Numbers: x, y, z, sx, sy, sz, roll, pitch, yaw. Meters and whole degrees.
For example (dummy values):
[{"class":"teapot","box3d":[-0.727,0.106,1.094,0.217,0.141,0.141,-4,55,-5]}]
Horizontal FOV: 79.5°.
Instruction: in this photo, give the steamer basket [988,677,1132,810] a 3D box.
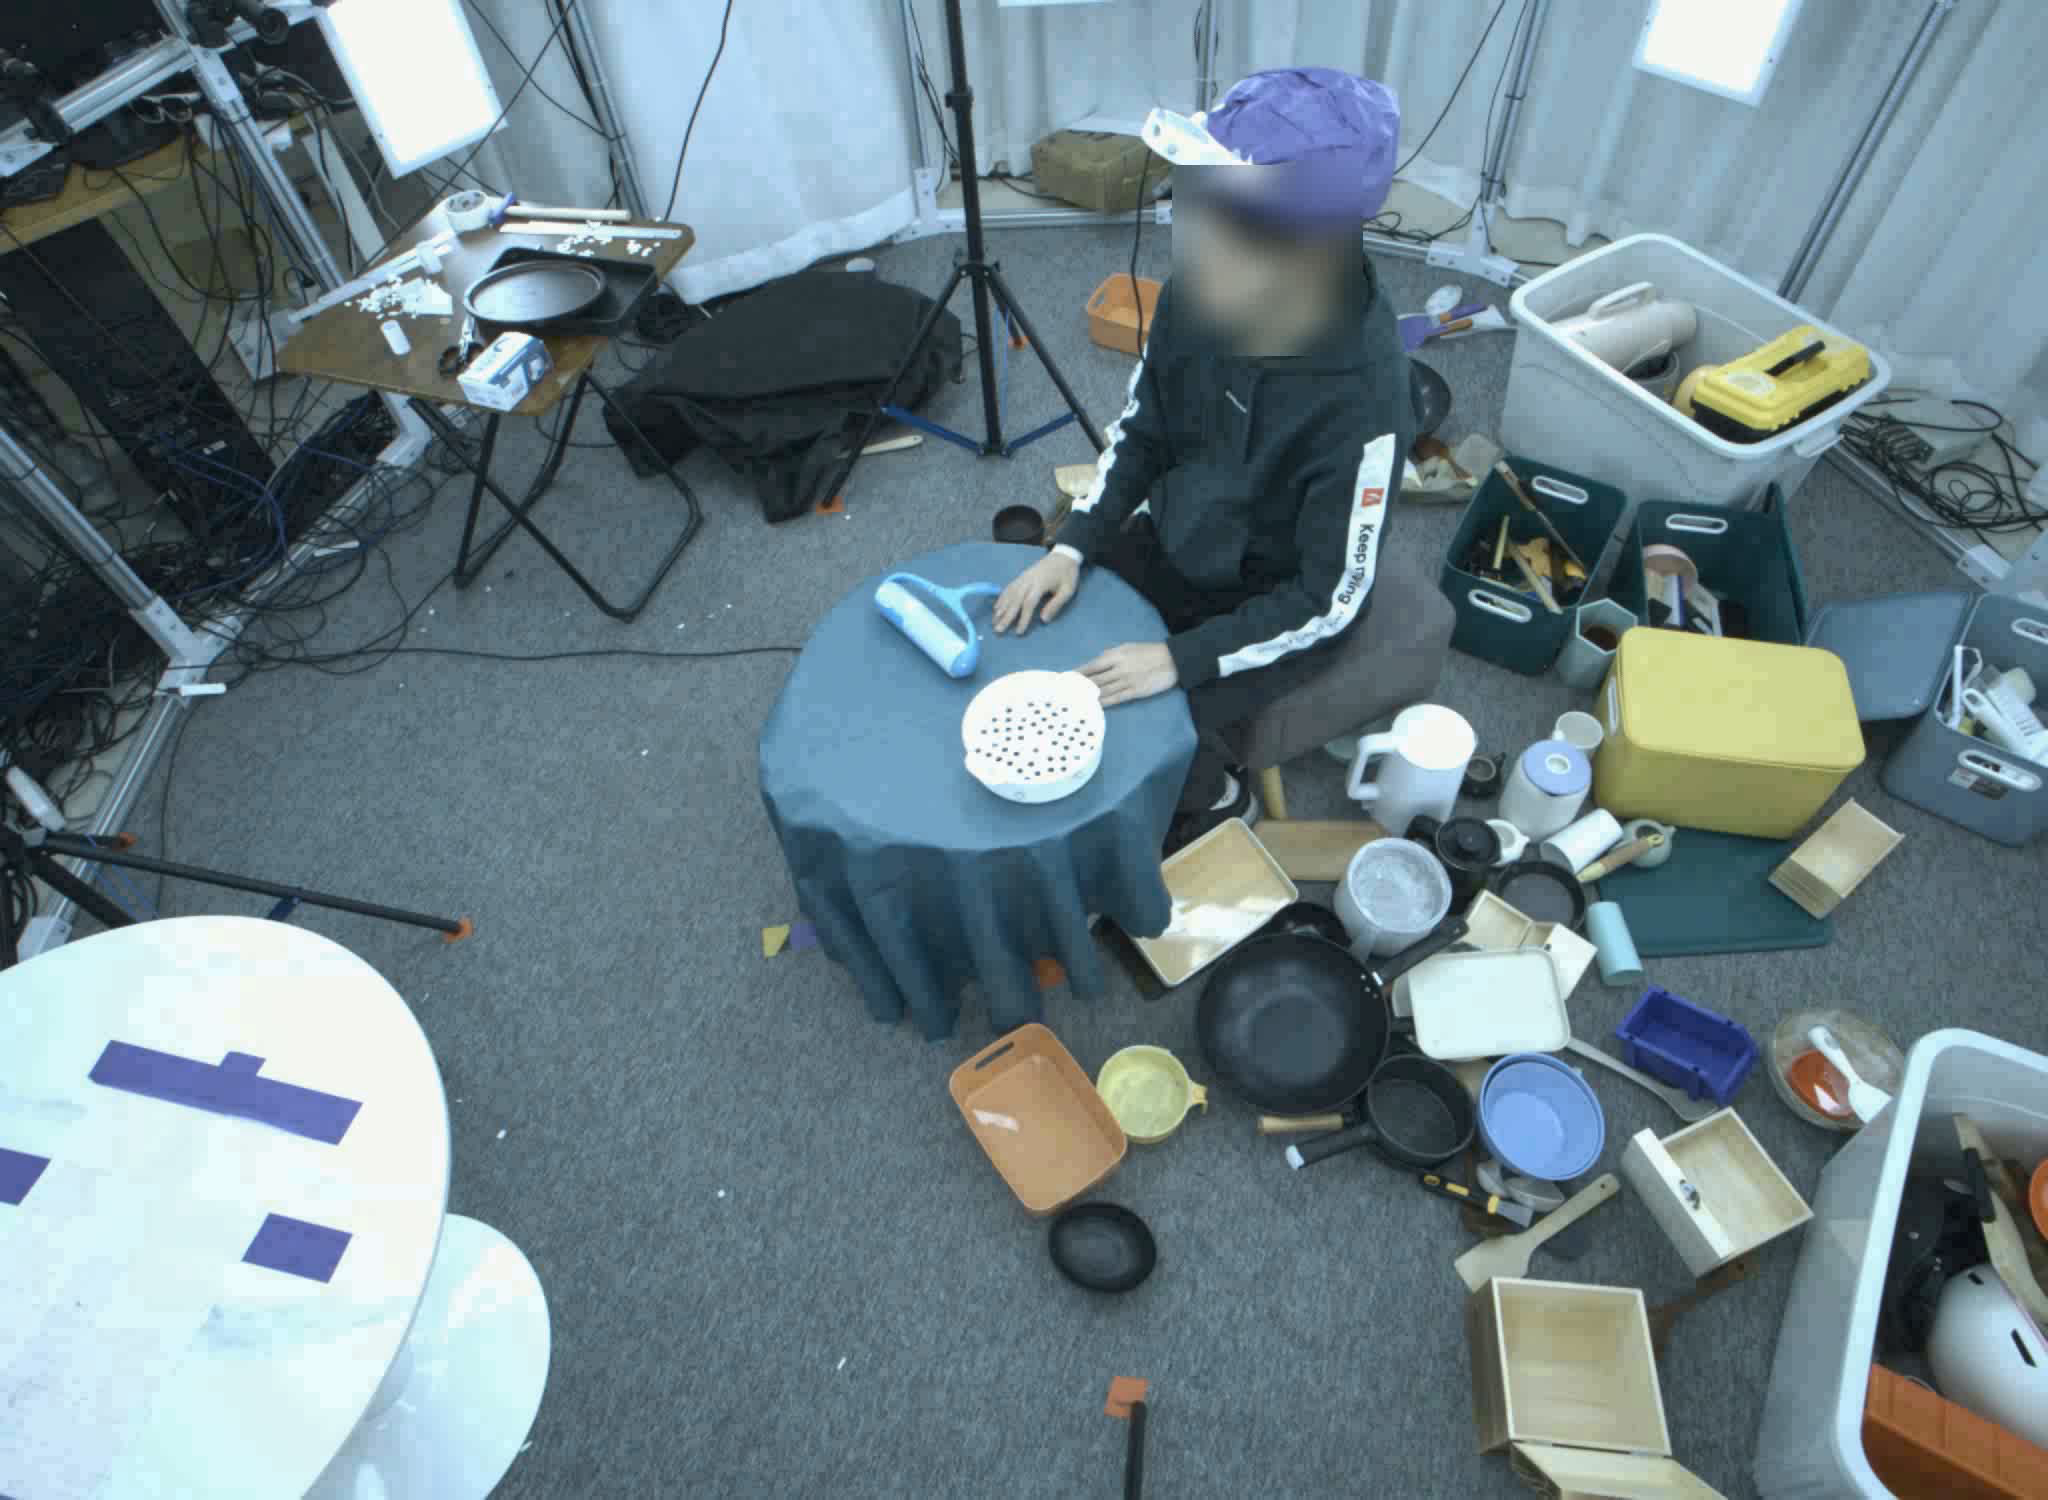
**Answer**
[{"class":"steamer basket","box3d":[0.051,-0.008,1.745,0.198,0.070,0.232,39,63,25]}]

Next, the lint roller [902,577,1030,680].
[{"class":"lint roller","box3d":[-0.066,-0.217,1.906,0.181,0.069,0.224,-39,59,-22]}]
